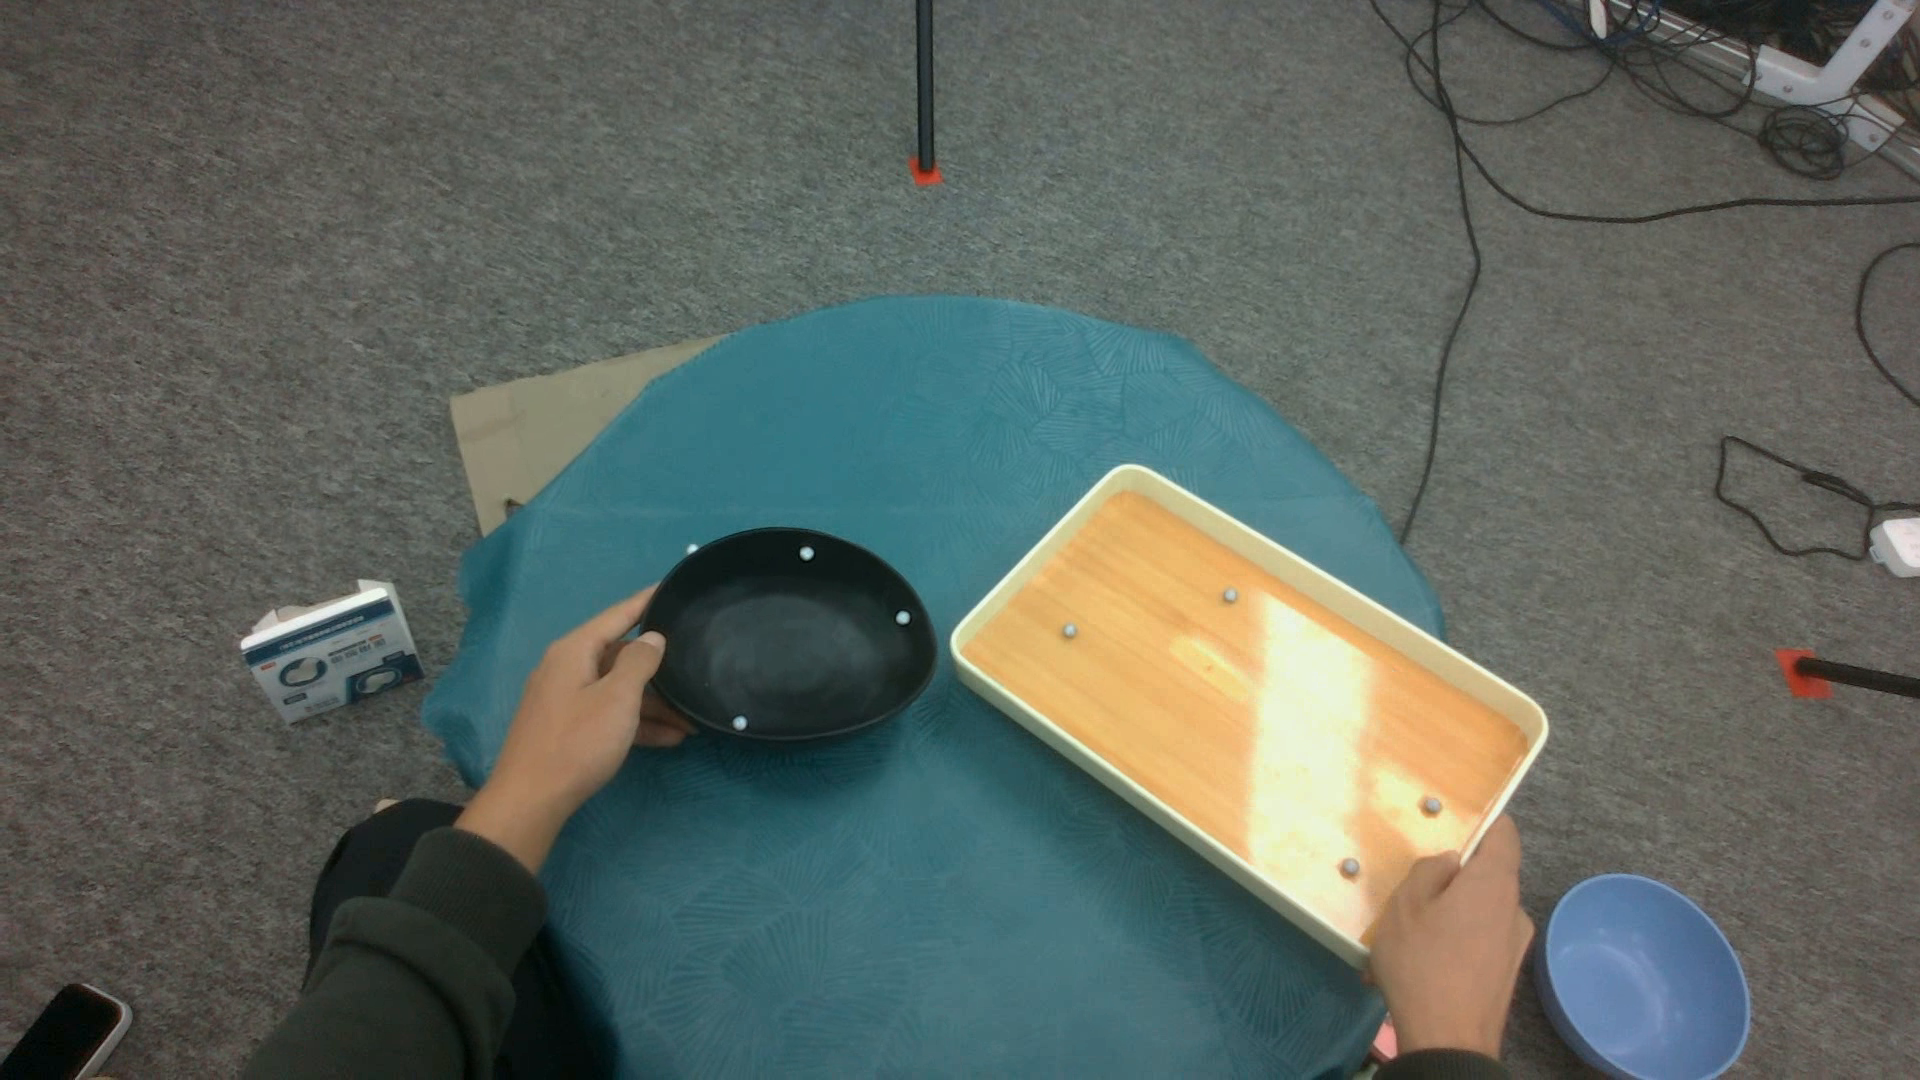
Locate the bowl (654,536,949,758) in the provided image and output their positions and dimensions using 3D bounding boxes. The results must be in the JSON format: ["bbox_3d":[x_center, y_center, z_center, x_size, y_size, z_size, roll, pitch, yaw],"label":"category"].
[{"bbox_3d":[-0.093,0.071,0.815,0.170,0.066,0.138,2,59,-10],"label":"bowl"}]

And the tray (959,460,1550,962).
[{"bbox_3d":[0.167,0.085,0.805,0.300,0.027,0.192,34,61,22],"label":"tray"}]
